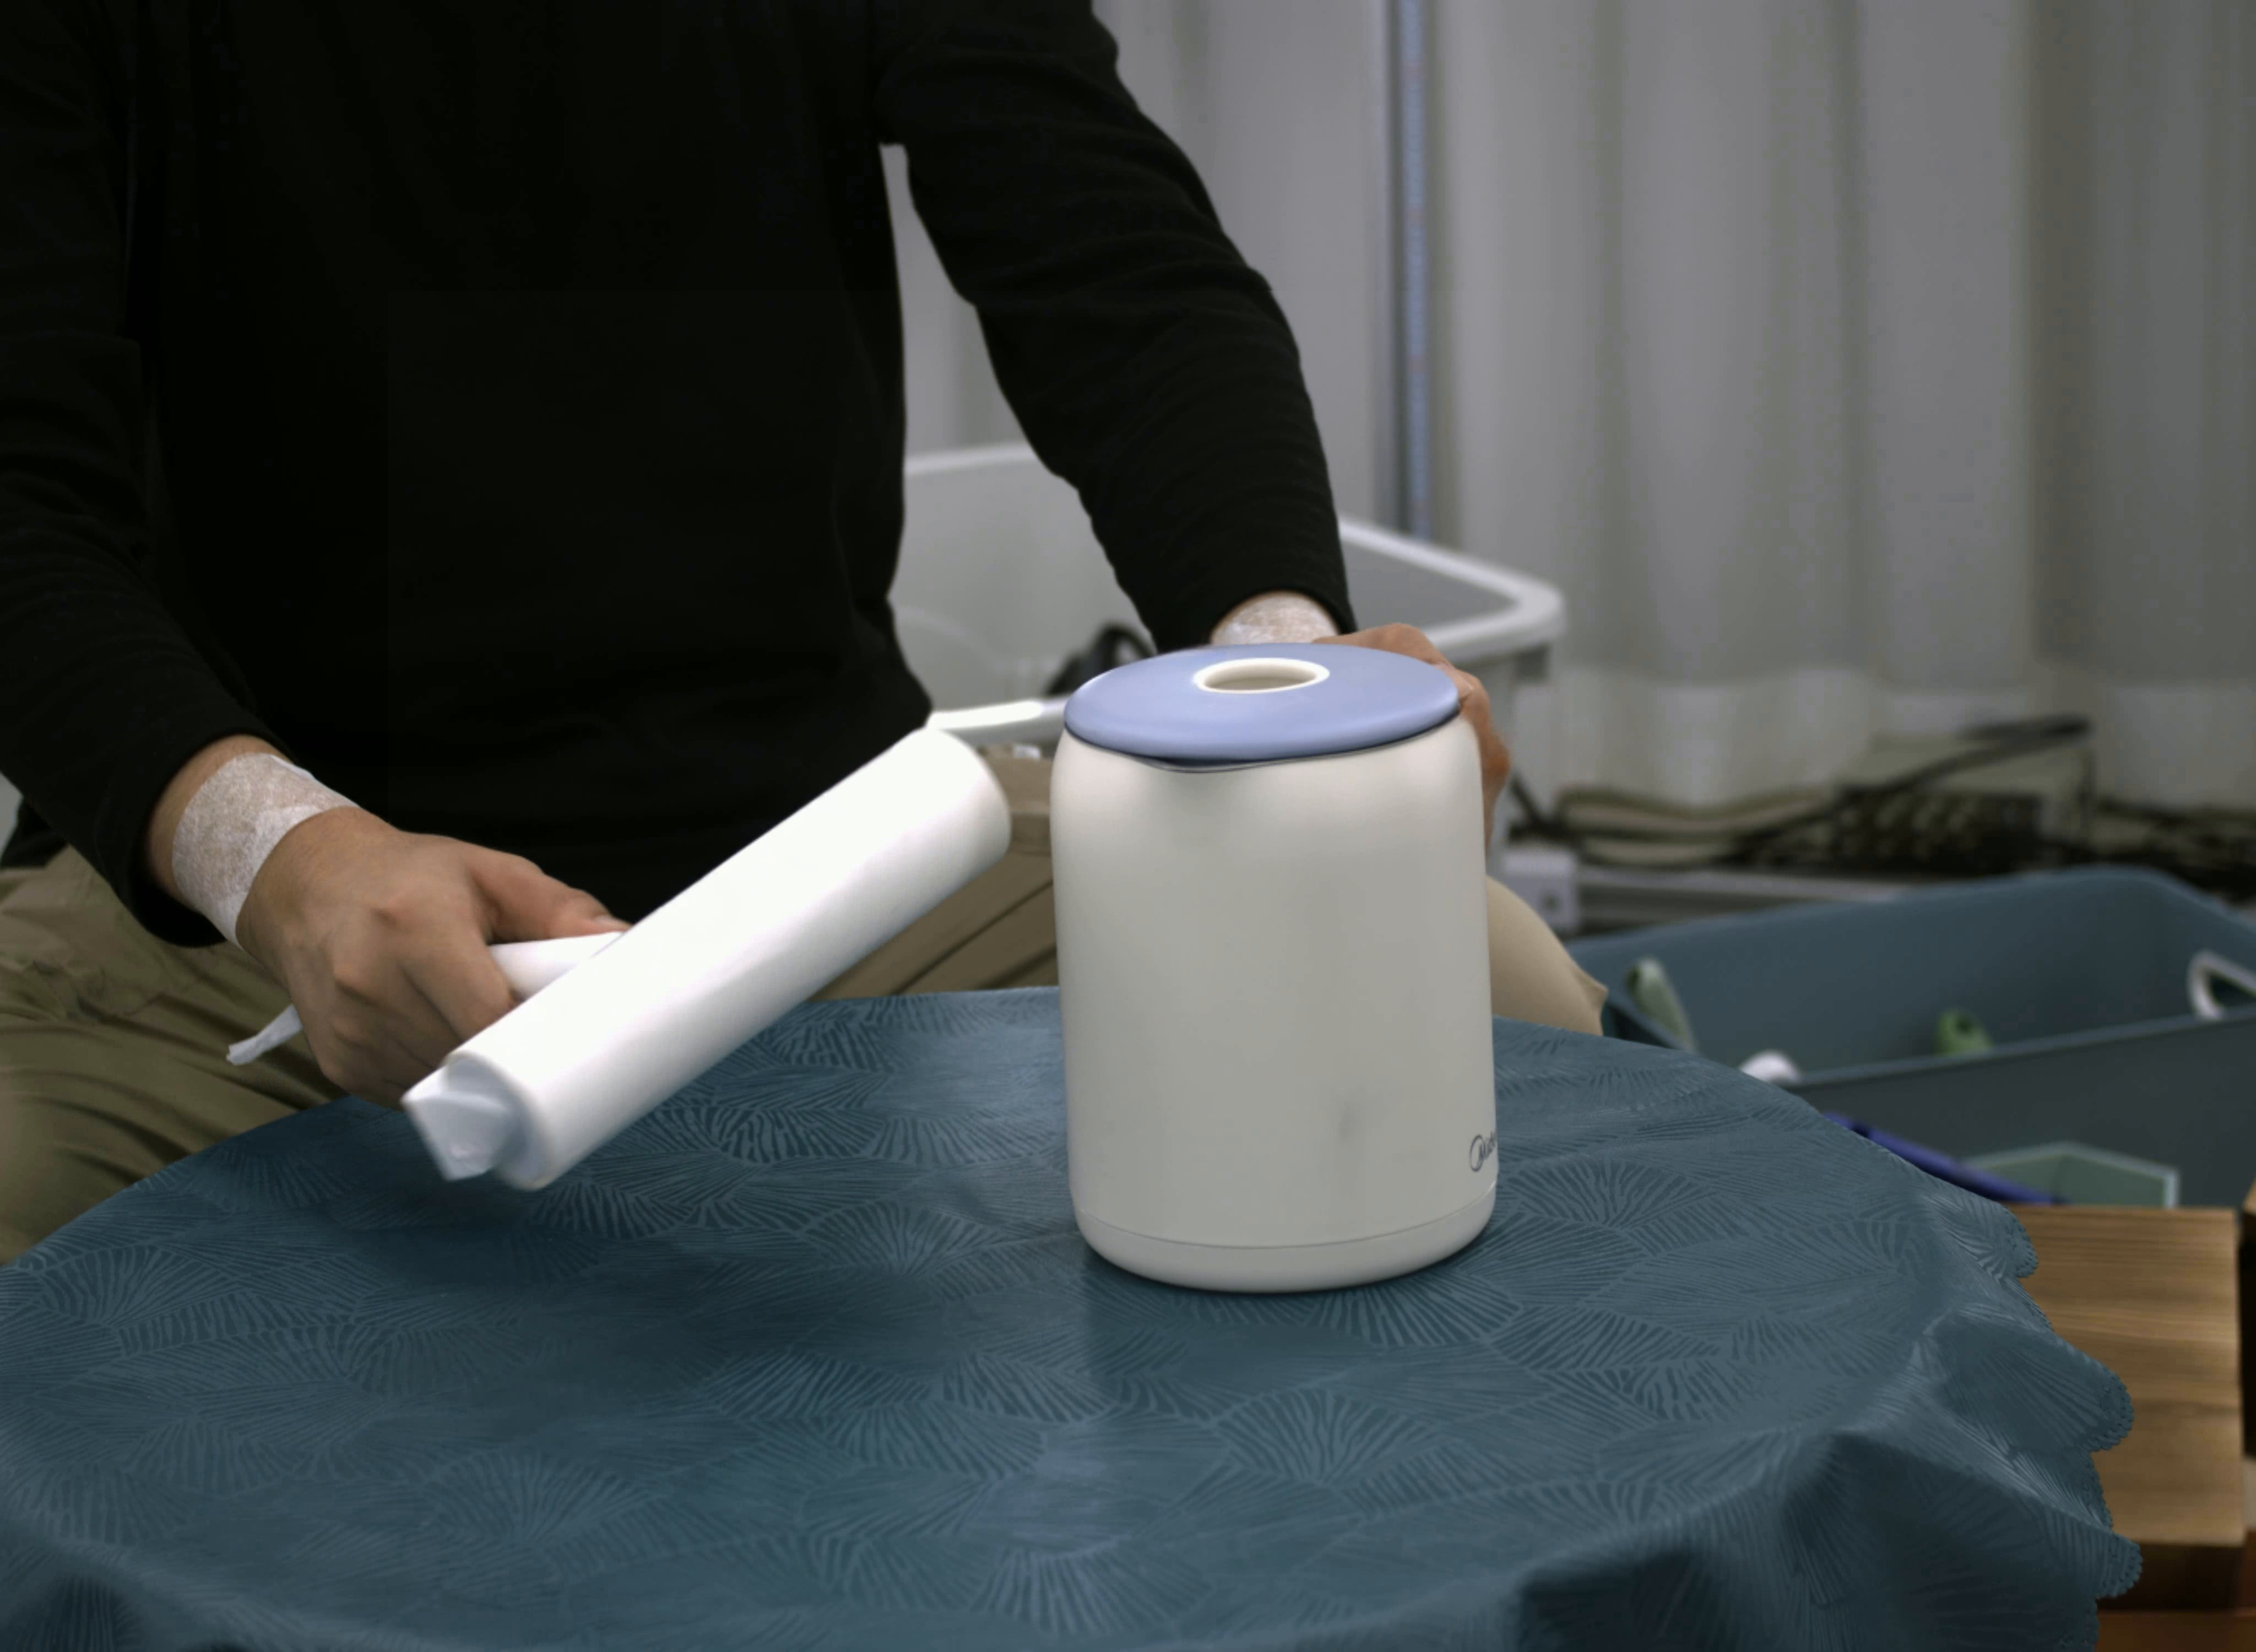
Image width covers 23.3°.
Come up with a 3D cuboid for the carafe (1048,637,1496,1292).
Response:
[{"bbox_3d":[0.052,0.035,1.673,0.132,0.182,0.191,3,13,19],"label":"carafe"}]

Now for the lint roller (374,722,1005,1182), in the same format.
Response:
[{"bbox_3d":[-0.170,0.041,1.676,0.226,0.048,0.203,-6,25,49],"label":"lint roller"}]
